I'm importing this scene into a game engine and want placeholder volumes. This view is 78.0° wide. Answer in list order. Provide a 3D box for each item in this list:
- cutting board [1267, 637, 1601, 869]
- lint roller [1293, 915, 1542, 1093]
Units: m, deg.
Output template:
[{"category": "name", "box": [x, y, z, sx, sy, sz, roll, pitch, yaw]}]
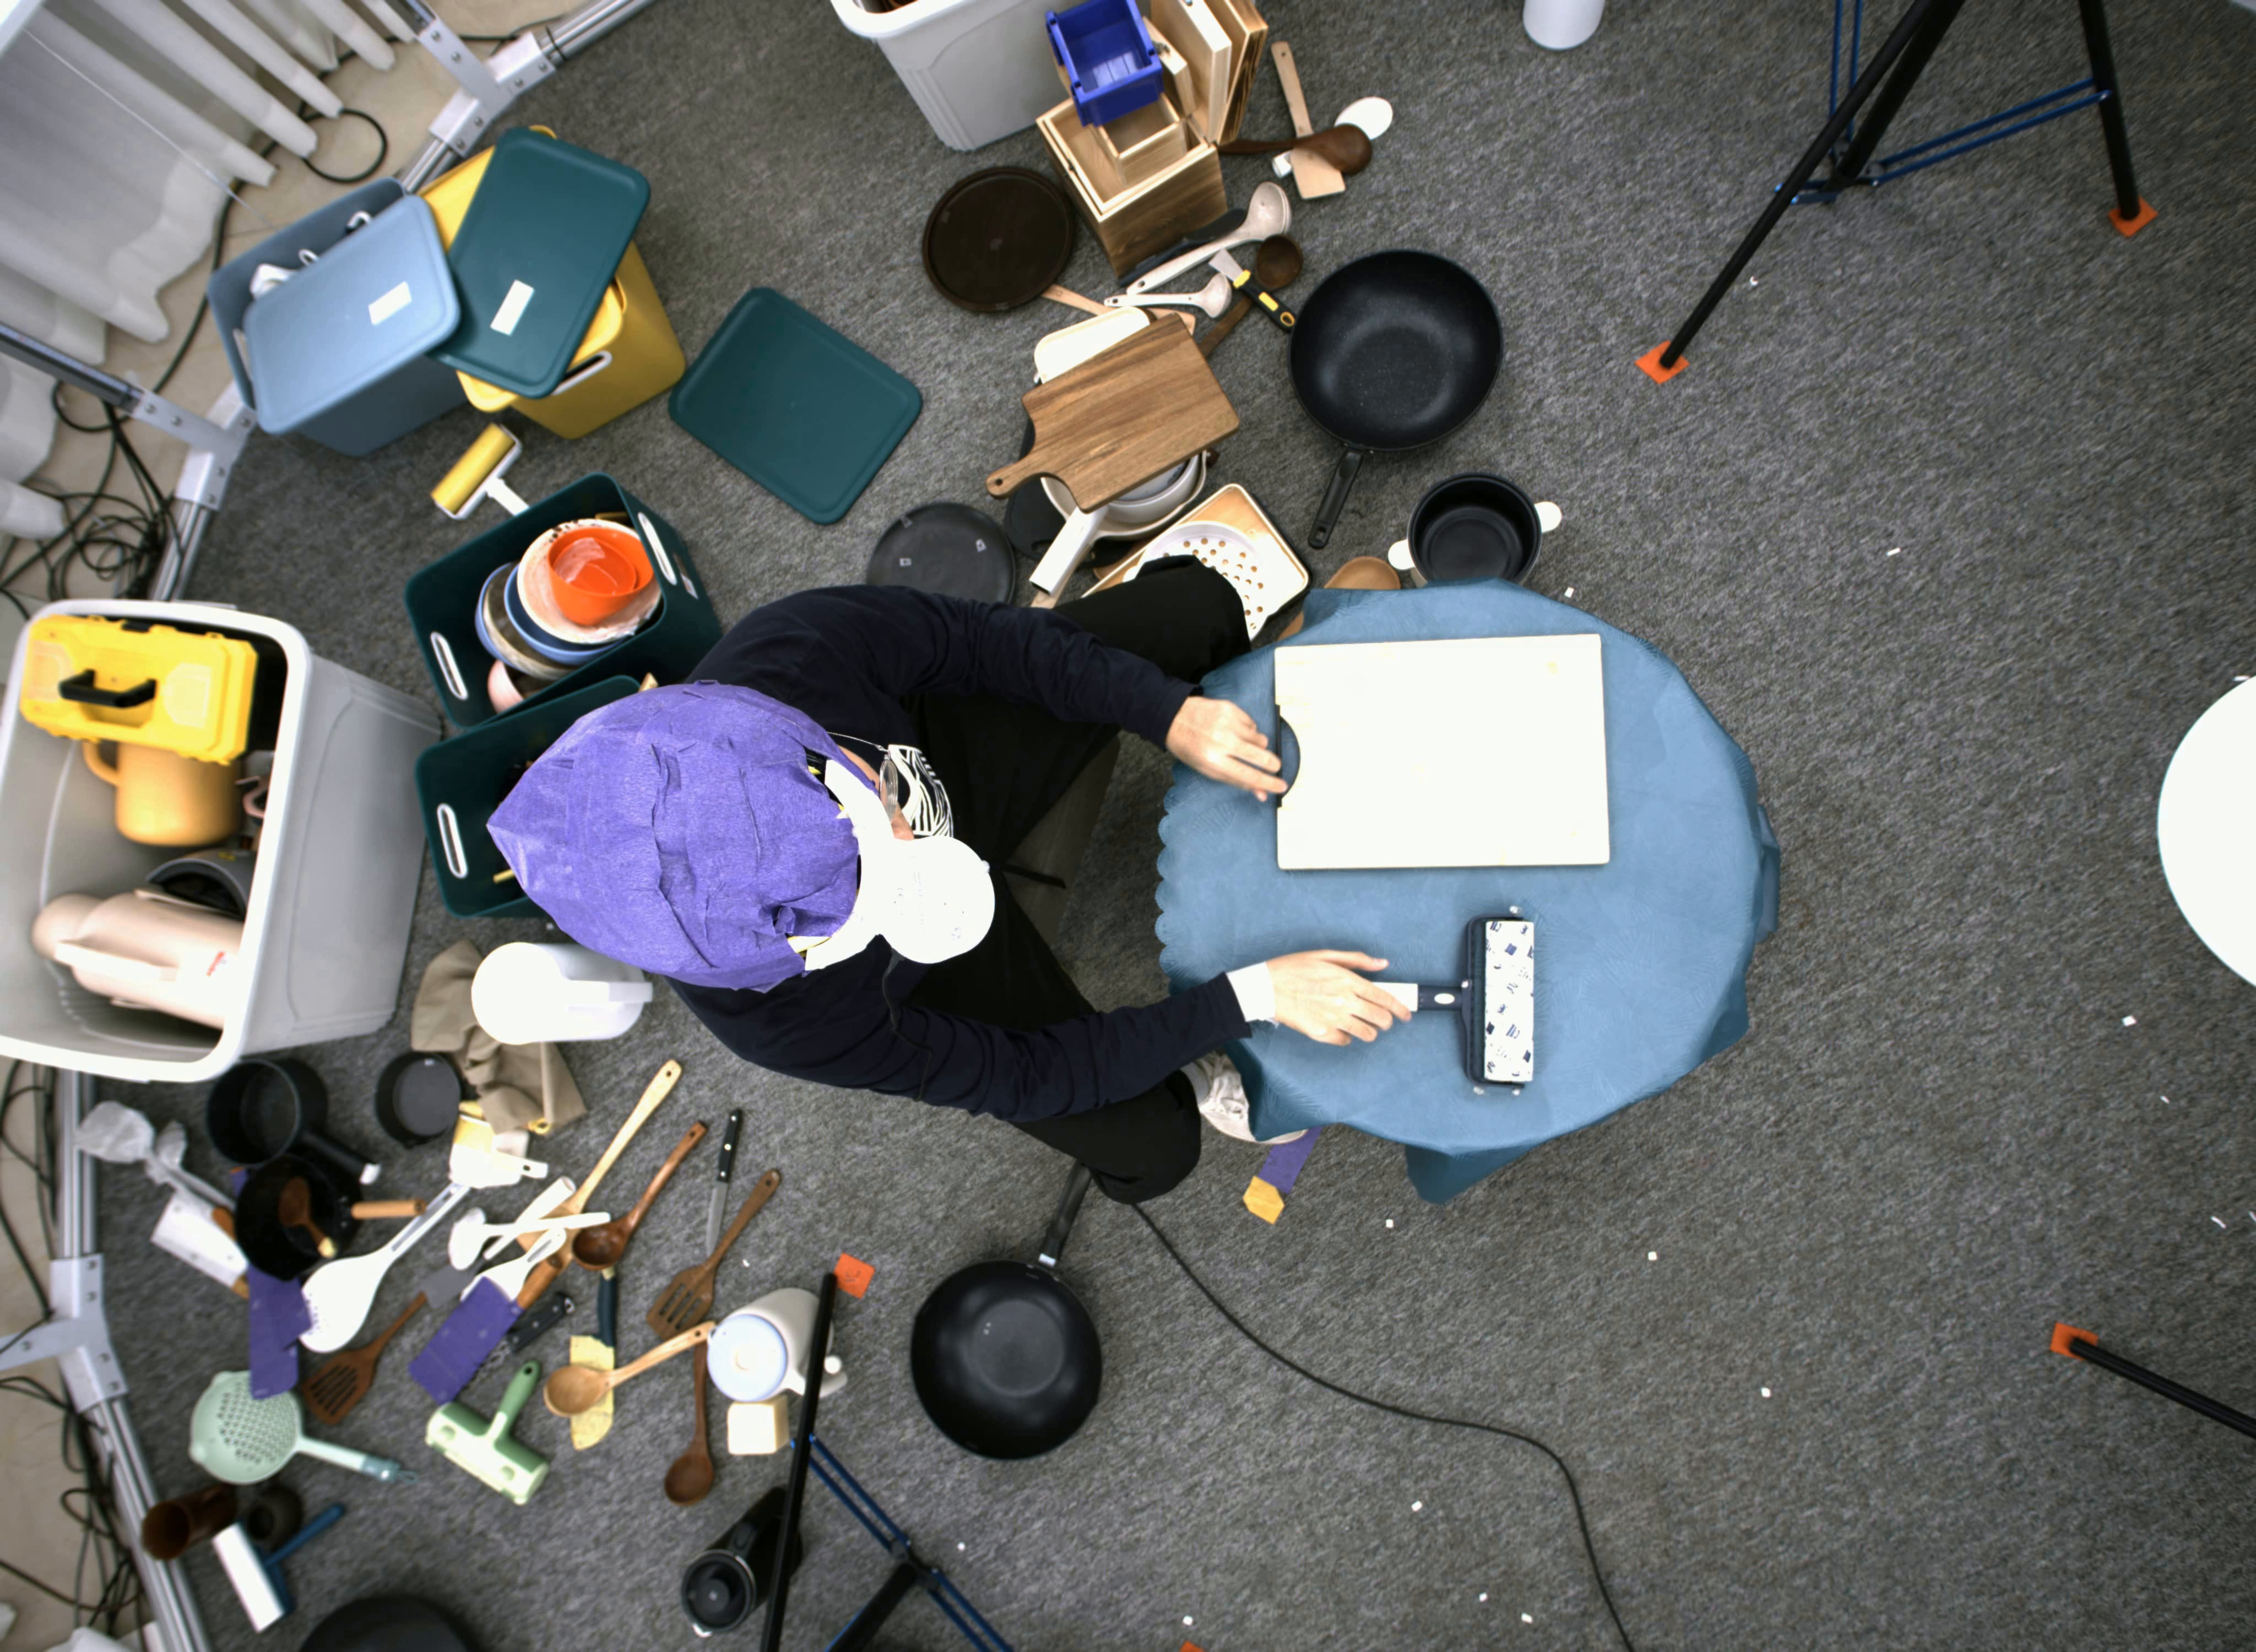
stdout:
[{"category": "cutting board", "box": [0.321, -0.078, 1.451, 0.350, 0.023, 0.249, -2, 86, 11]}, {"category": "lint roller", "box": [0.292, 0.169, 1.421, 0.248, 0.050, 0.175, 5, 86, 14]}]
